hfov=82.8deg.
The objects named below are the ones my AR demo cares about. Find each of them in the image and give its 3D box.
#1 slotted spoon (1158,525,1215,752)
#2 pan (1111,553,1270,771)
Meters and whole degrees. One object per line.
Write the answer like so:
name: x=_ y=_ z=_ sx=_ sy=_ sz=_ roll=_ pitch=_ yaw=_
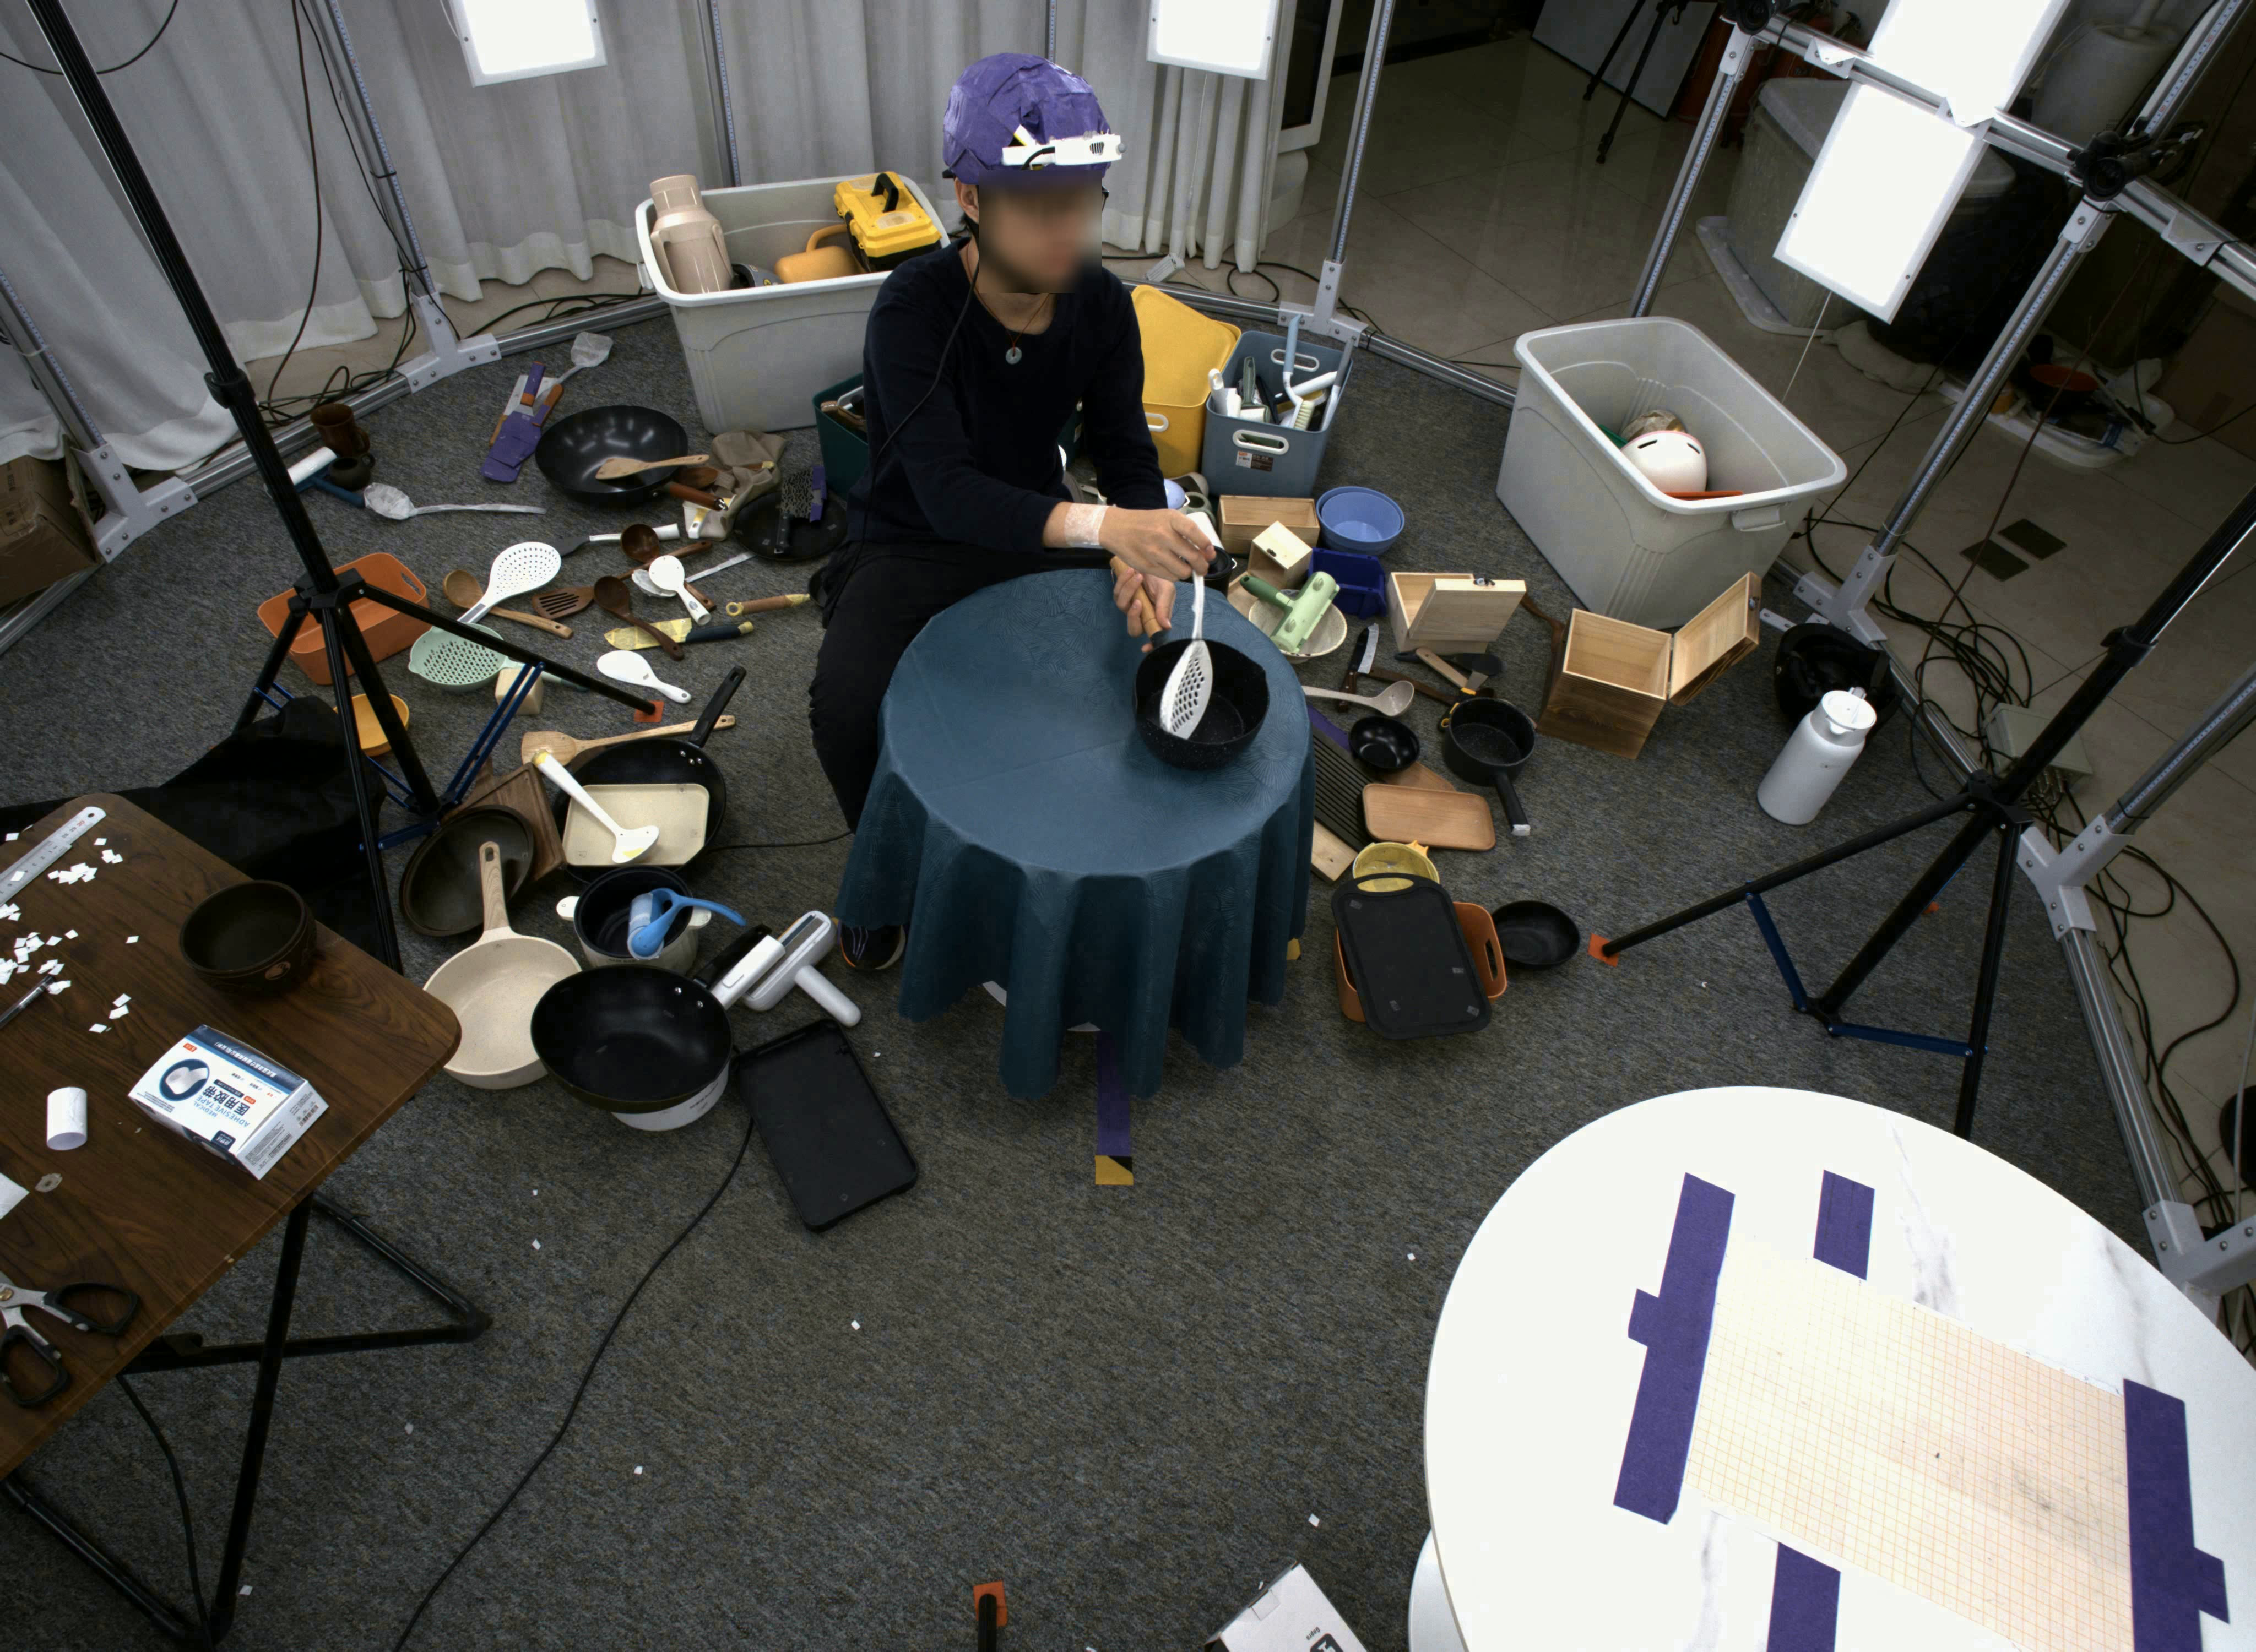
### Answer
slotted spoon: x=0.075 y=-0.238 z=1.644 sx=0.050 sy=0.339 sz=0.139 roll=25 pitch=52 yaw=16
pan: x=0.057 y=-0.226 z=1.778 sx=0.208 sy=0.106 sz=0.349 roll=-22 pitch=61 yaw=-21
